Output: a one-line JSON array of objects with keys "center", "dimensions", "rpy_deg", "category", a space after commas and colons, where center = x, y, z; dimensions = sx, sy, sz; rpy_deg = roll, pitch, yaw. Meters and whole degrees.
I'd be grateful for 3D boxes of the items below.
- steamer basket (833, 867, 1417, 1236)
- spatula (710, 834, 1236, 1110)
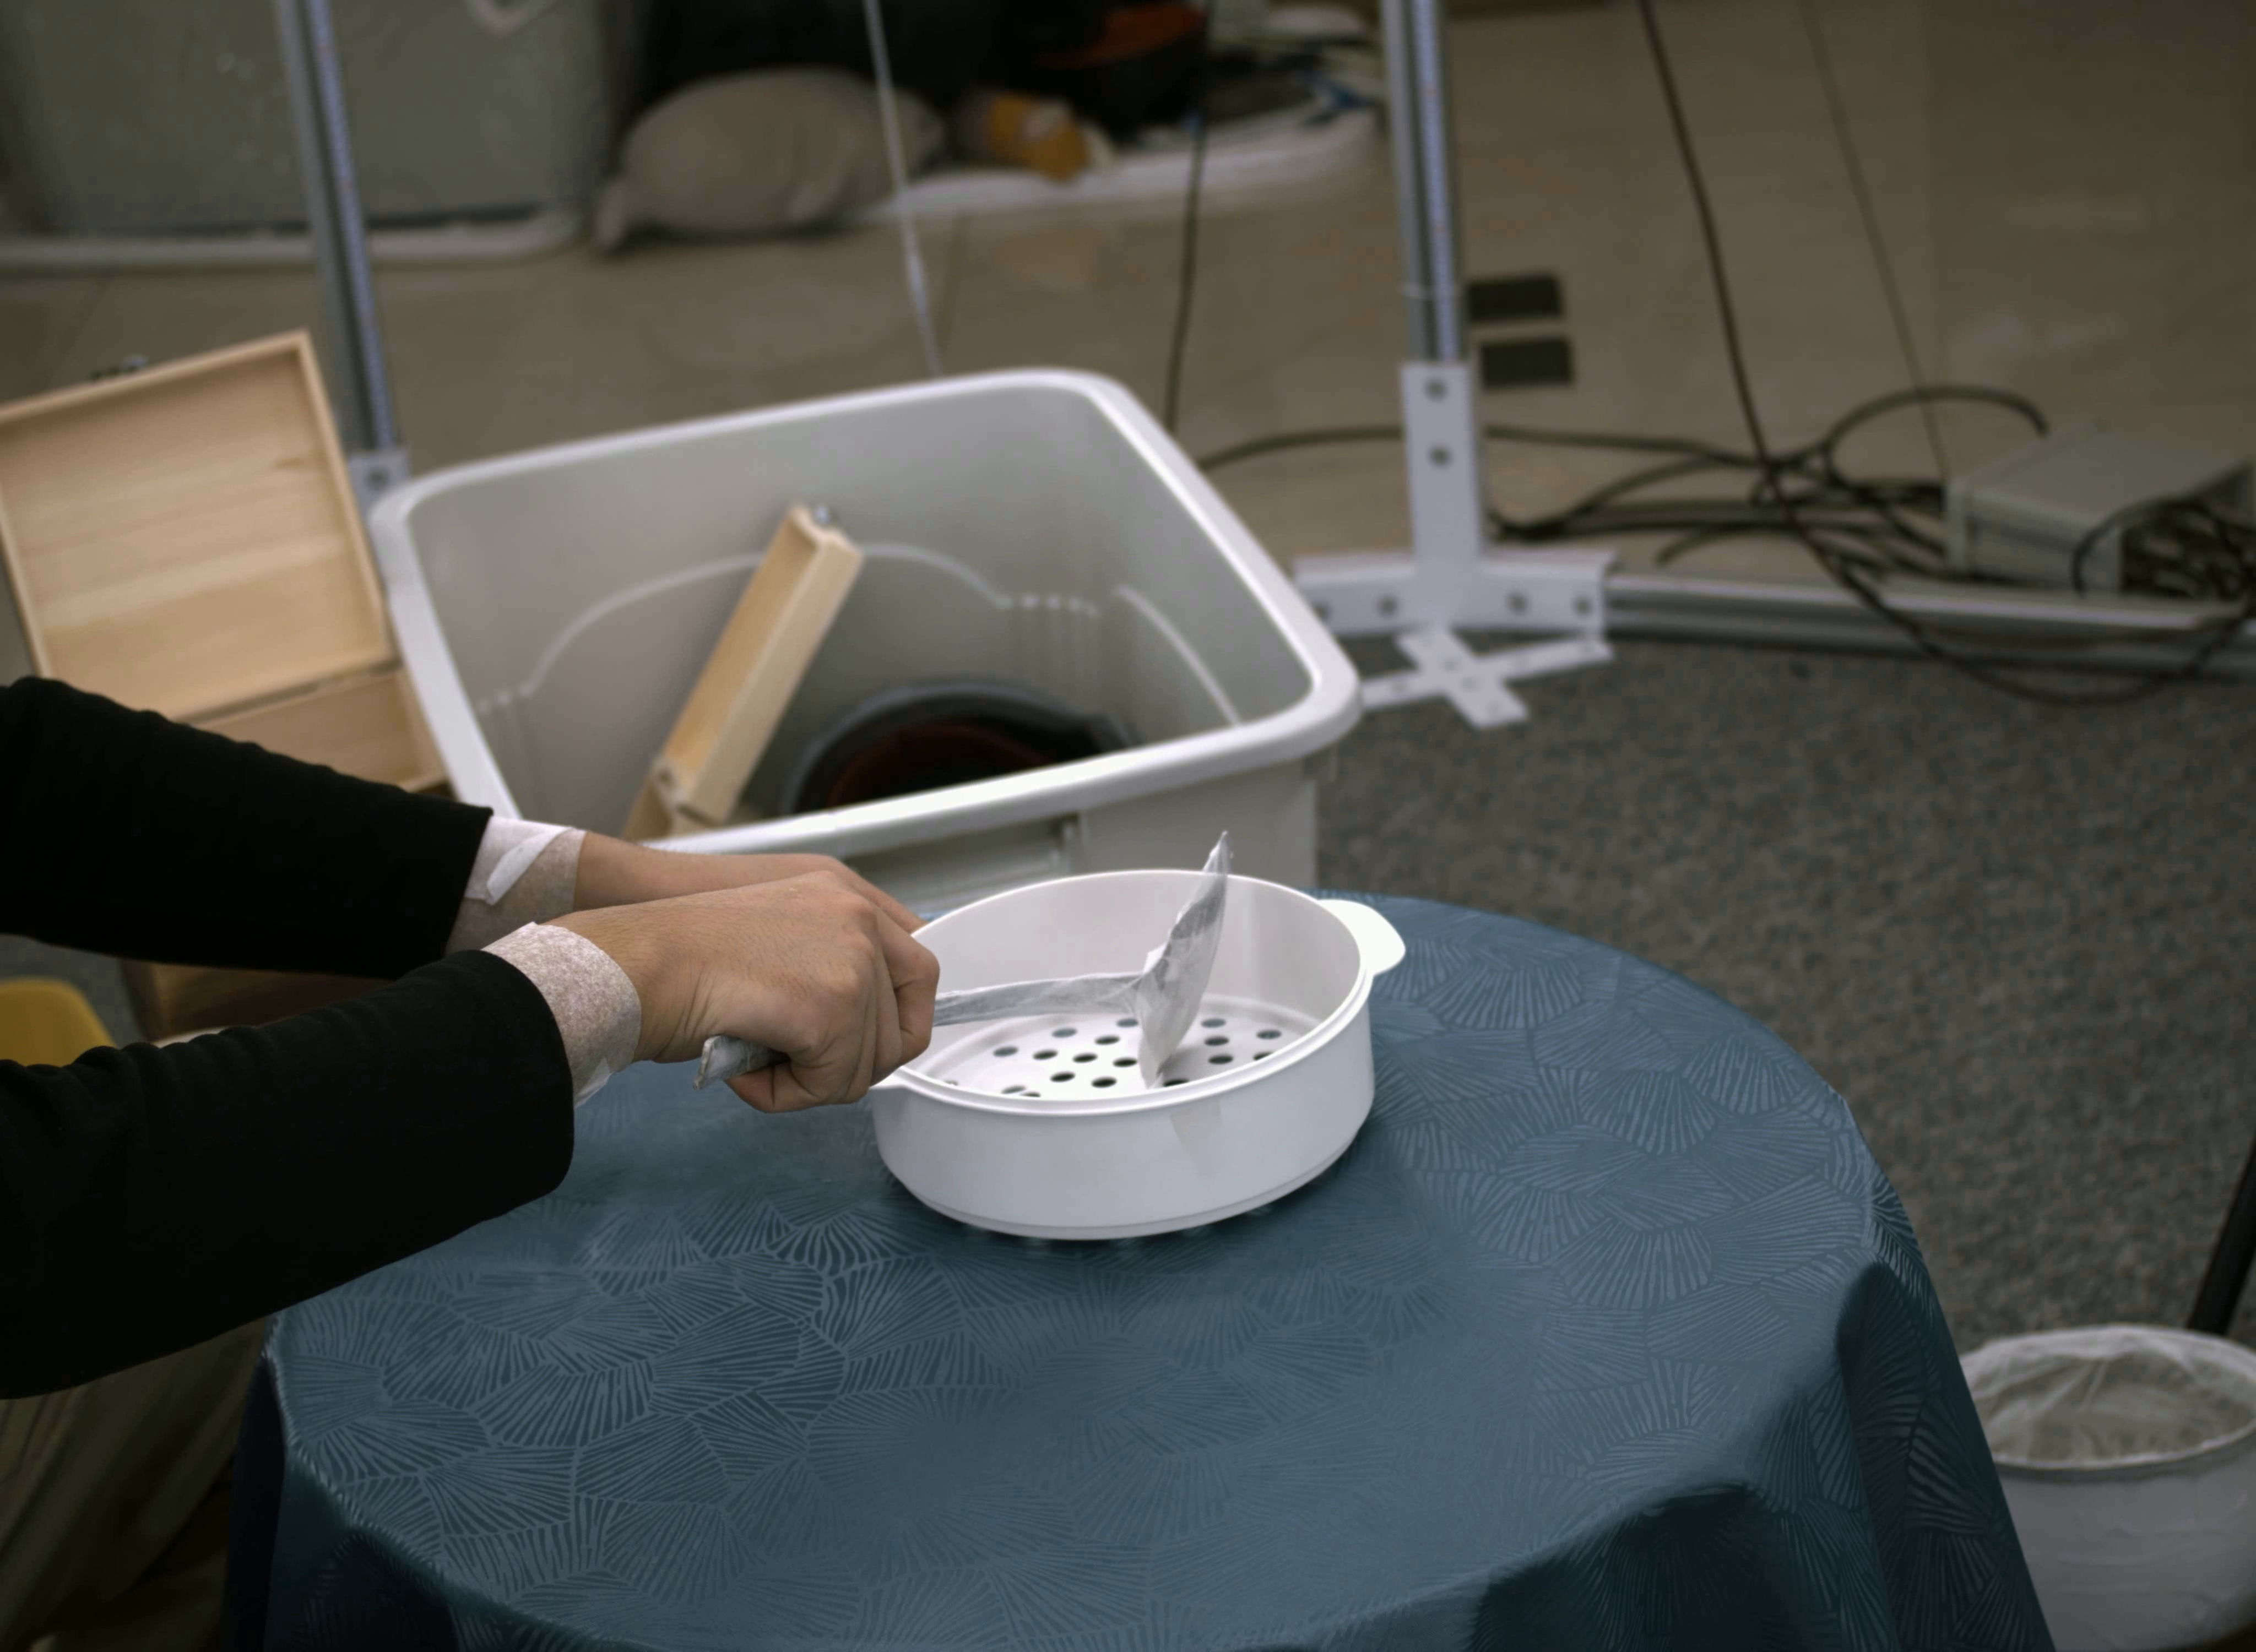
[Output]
[{"center": [0.002, 0.087, 2.176], "dimensions": [0.230, 0.070, 0.199], "rpy_deg": [-13, 25, -12], "category": "steamer basket"}, {"center": [-0.052, 0.065, 2.073], "dimensions": [0.044, 0.100, 0.364], "rpy_deg": [27, 19, 30], "category": "spatula"}]
